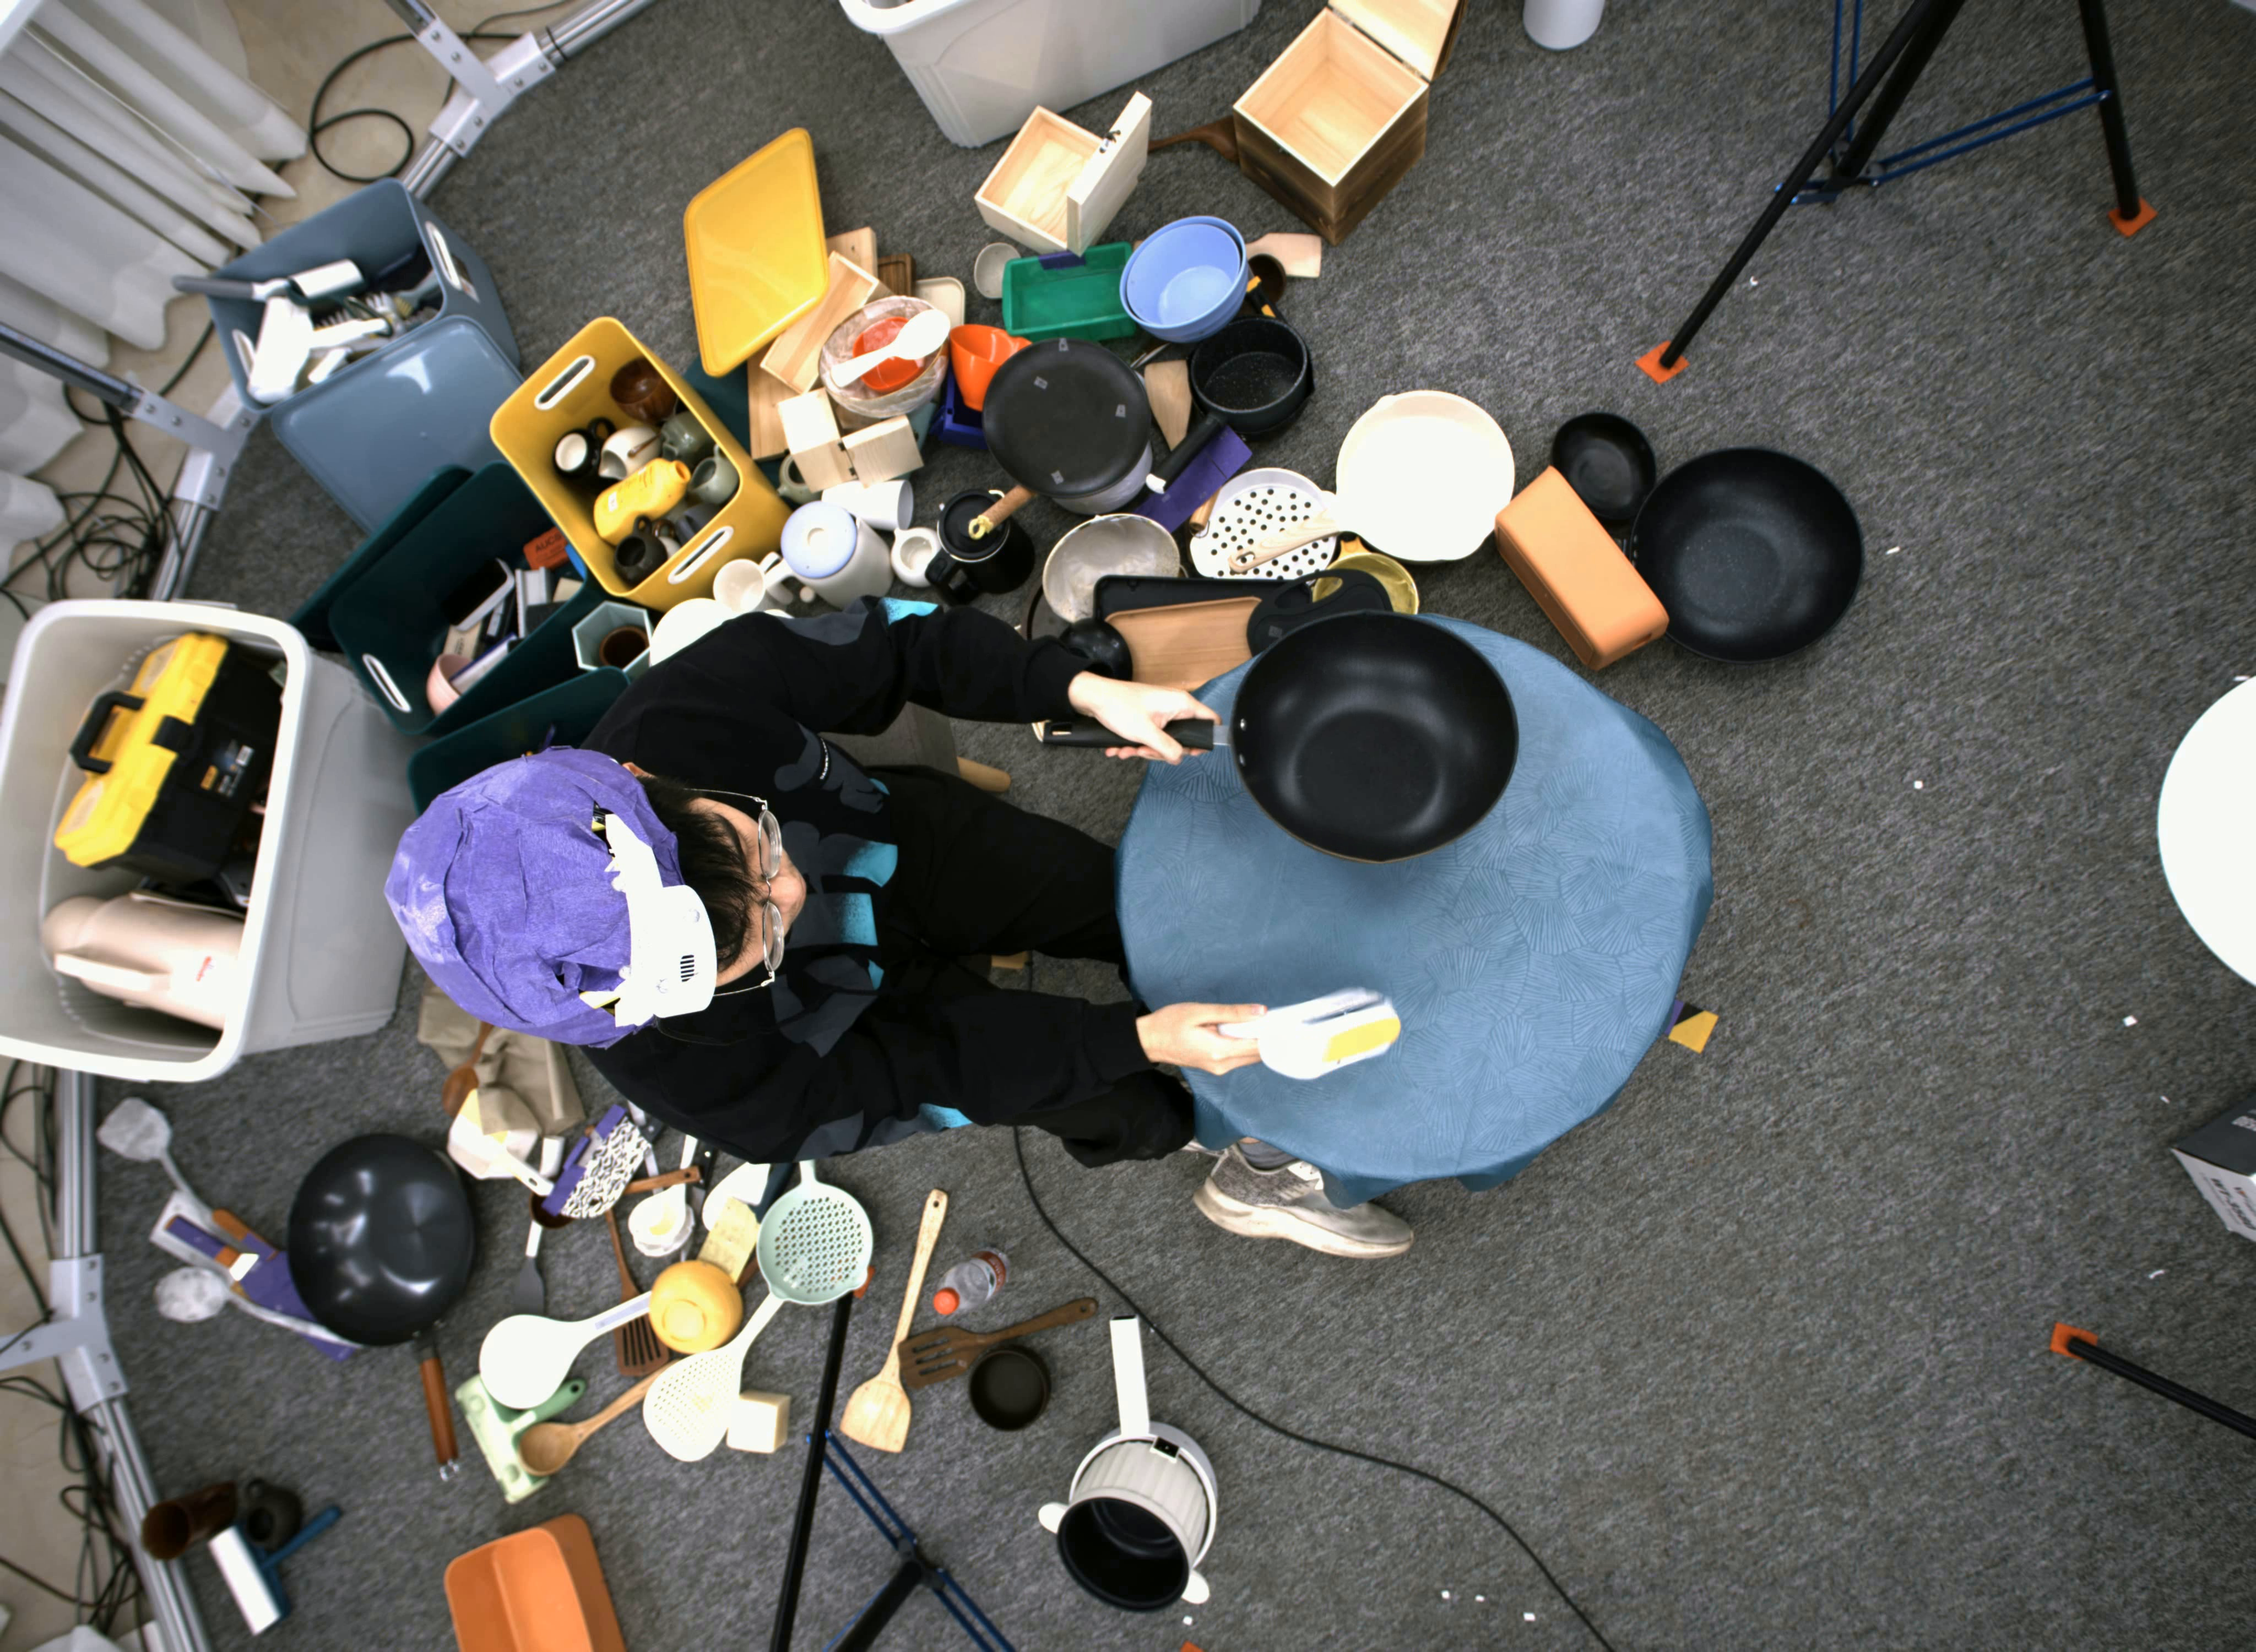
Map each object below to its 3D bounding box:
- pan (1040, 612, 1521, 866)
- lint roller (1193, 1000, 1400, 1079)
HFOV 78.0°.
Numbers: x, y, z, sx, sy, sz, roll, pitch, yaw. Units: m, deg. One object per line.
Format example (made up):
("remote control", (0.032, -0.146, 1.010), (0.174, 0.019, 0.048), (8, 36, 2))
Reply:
("pan", (0.147, -0.076, 1.365), (0.465, 0.088, 0.282), (0, 64, 7))
("lint roller", (0.144, 0.196, 1.348), (0.193, 0.191, 0.074), (8, 97, 42))
